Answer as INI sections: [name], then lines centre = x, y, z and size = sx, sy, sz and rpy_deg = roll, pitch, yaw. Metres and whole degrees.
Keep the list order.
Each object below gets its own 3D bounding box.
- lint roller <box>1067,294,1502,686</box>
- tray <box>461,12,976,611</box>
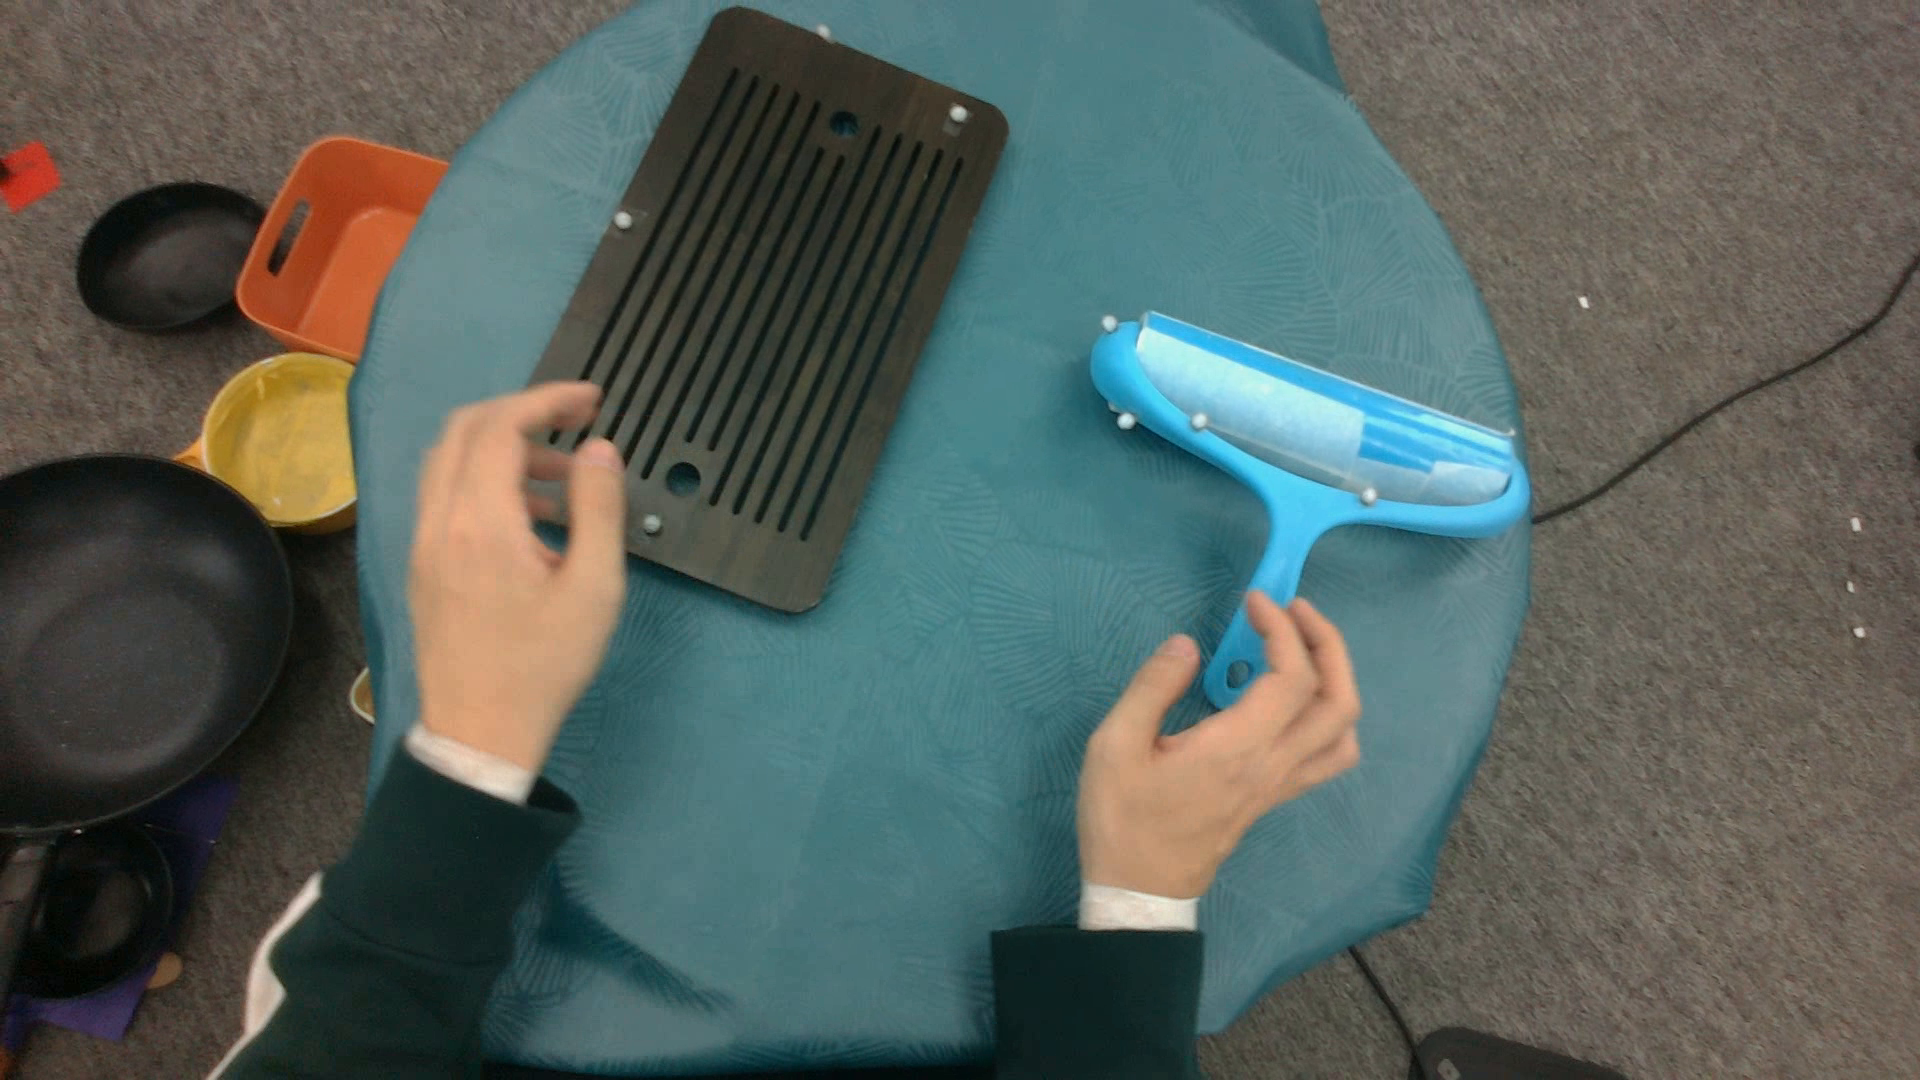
[lint roller]
centre = 0.152, -0.018, 0.680
size = 0.229, 0.067, 0.181
rpy_deg = 15, 69, -4
[tray]
centre = -0.114, -0.125, 0.703
size = 0.170, 0.018, 0.307
rpy_deg = 19, 70, -1
